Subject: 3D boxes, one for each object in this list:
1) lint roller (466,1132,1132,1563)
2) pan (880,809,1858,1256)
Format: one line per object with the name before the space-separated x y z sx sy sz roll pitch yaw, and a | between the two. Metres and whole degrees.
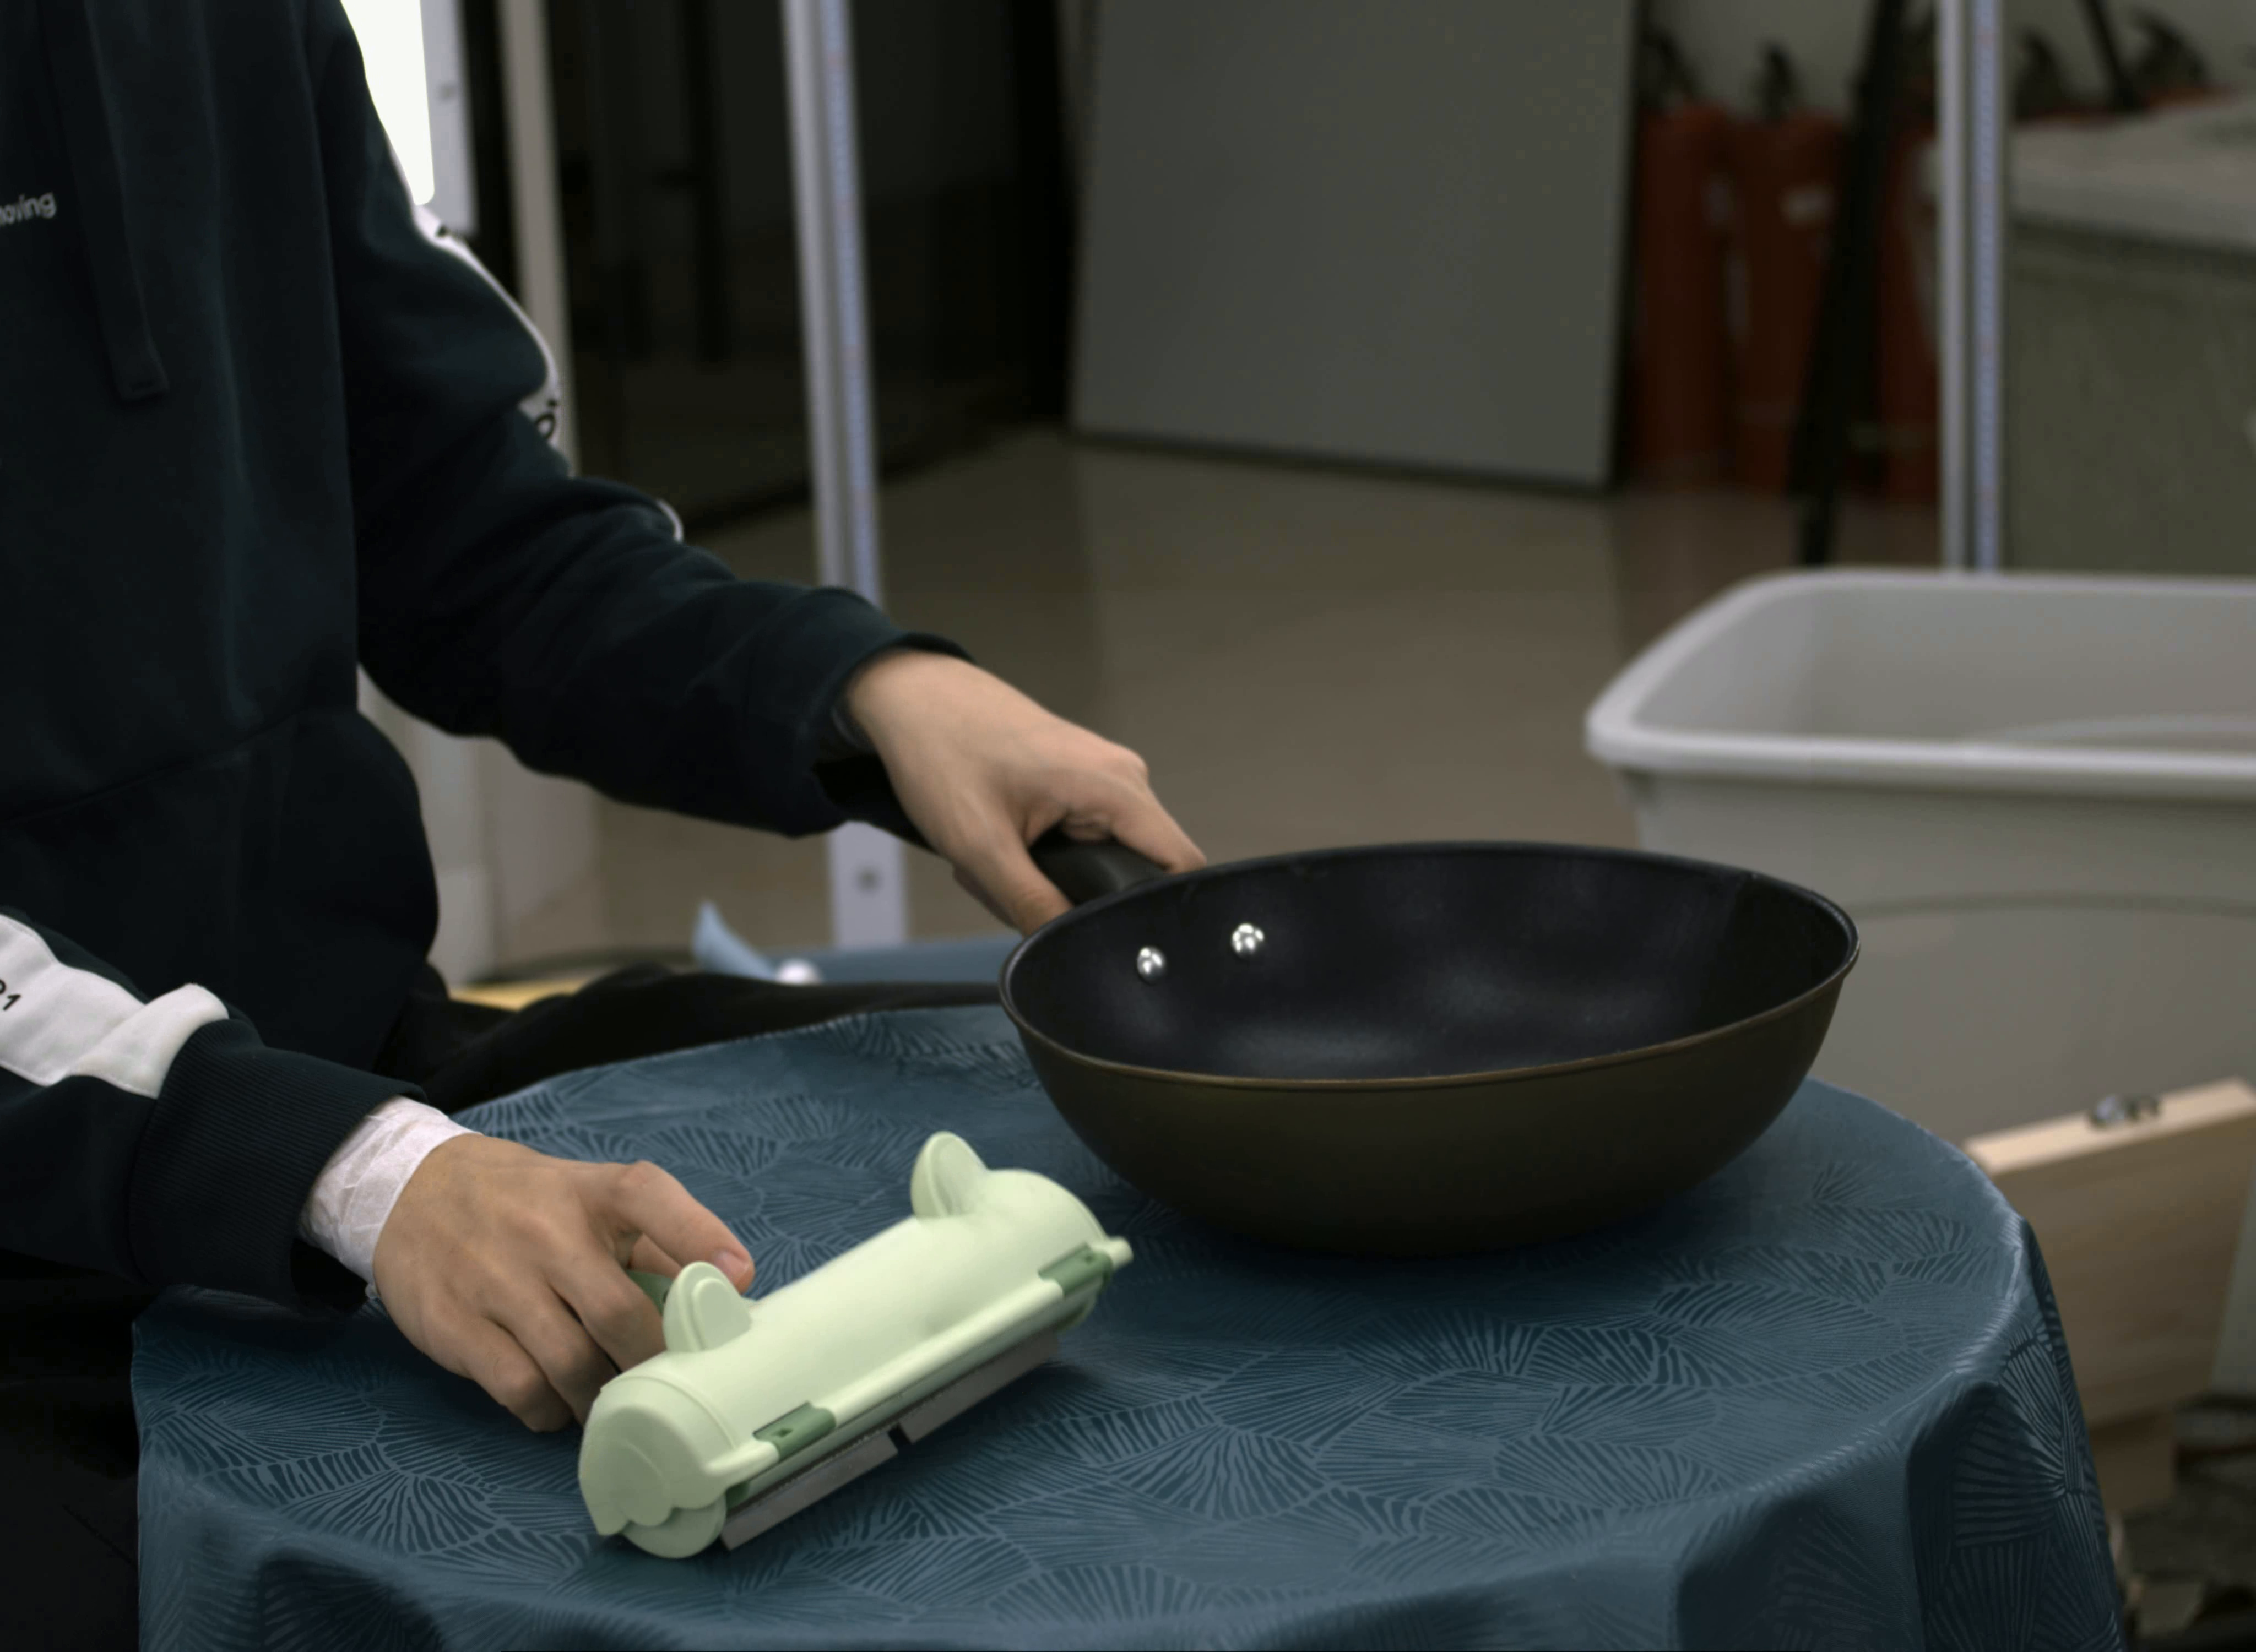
lint roller | -0.123 0.135 1.576 0.184 0.083 0.195 14 23 34
pan | 0.045 0.064 1.817 0.282 0.088 0.468 -14 15 -33
